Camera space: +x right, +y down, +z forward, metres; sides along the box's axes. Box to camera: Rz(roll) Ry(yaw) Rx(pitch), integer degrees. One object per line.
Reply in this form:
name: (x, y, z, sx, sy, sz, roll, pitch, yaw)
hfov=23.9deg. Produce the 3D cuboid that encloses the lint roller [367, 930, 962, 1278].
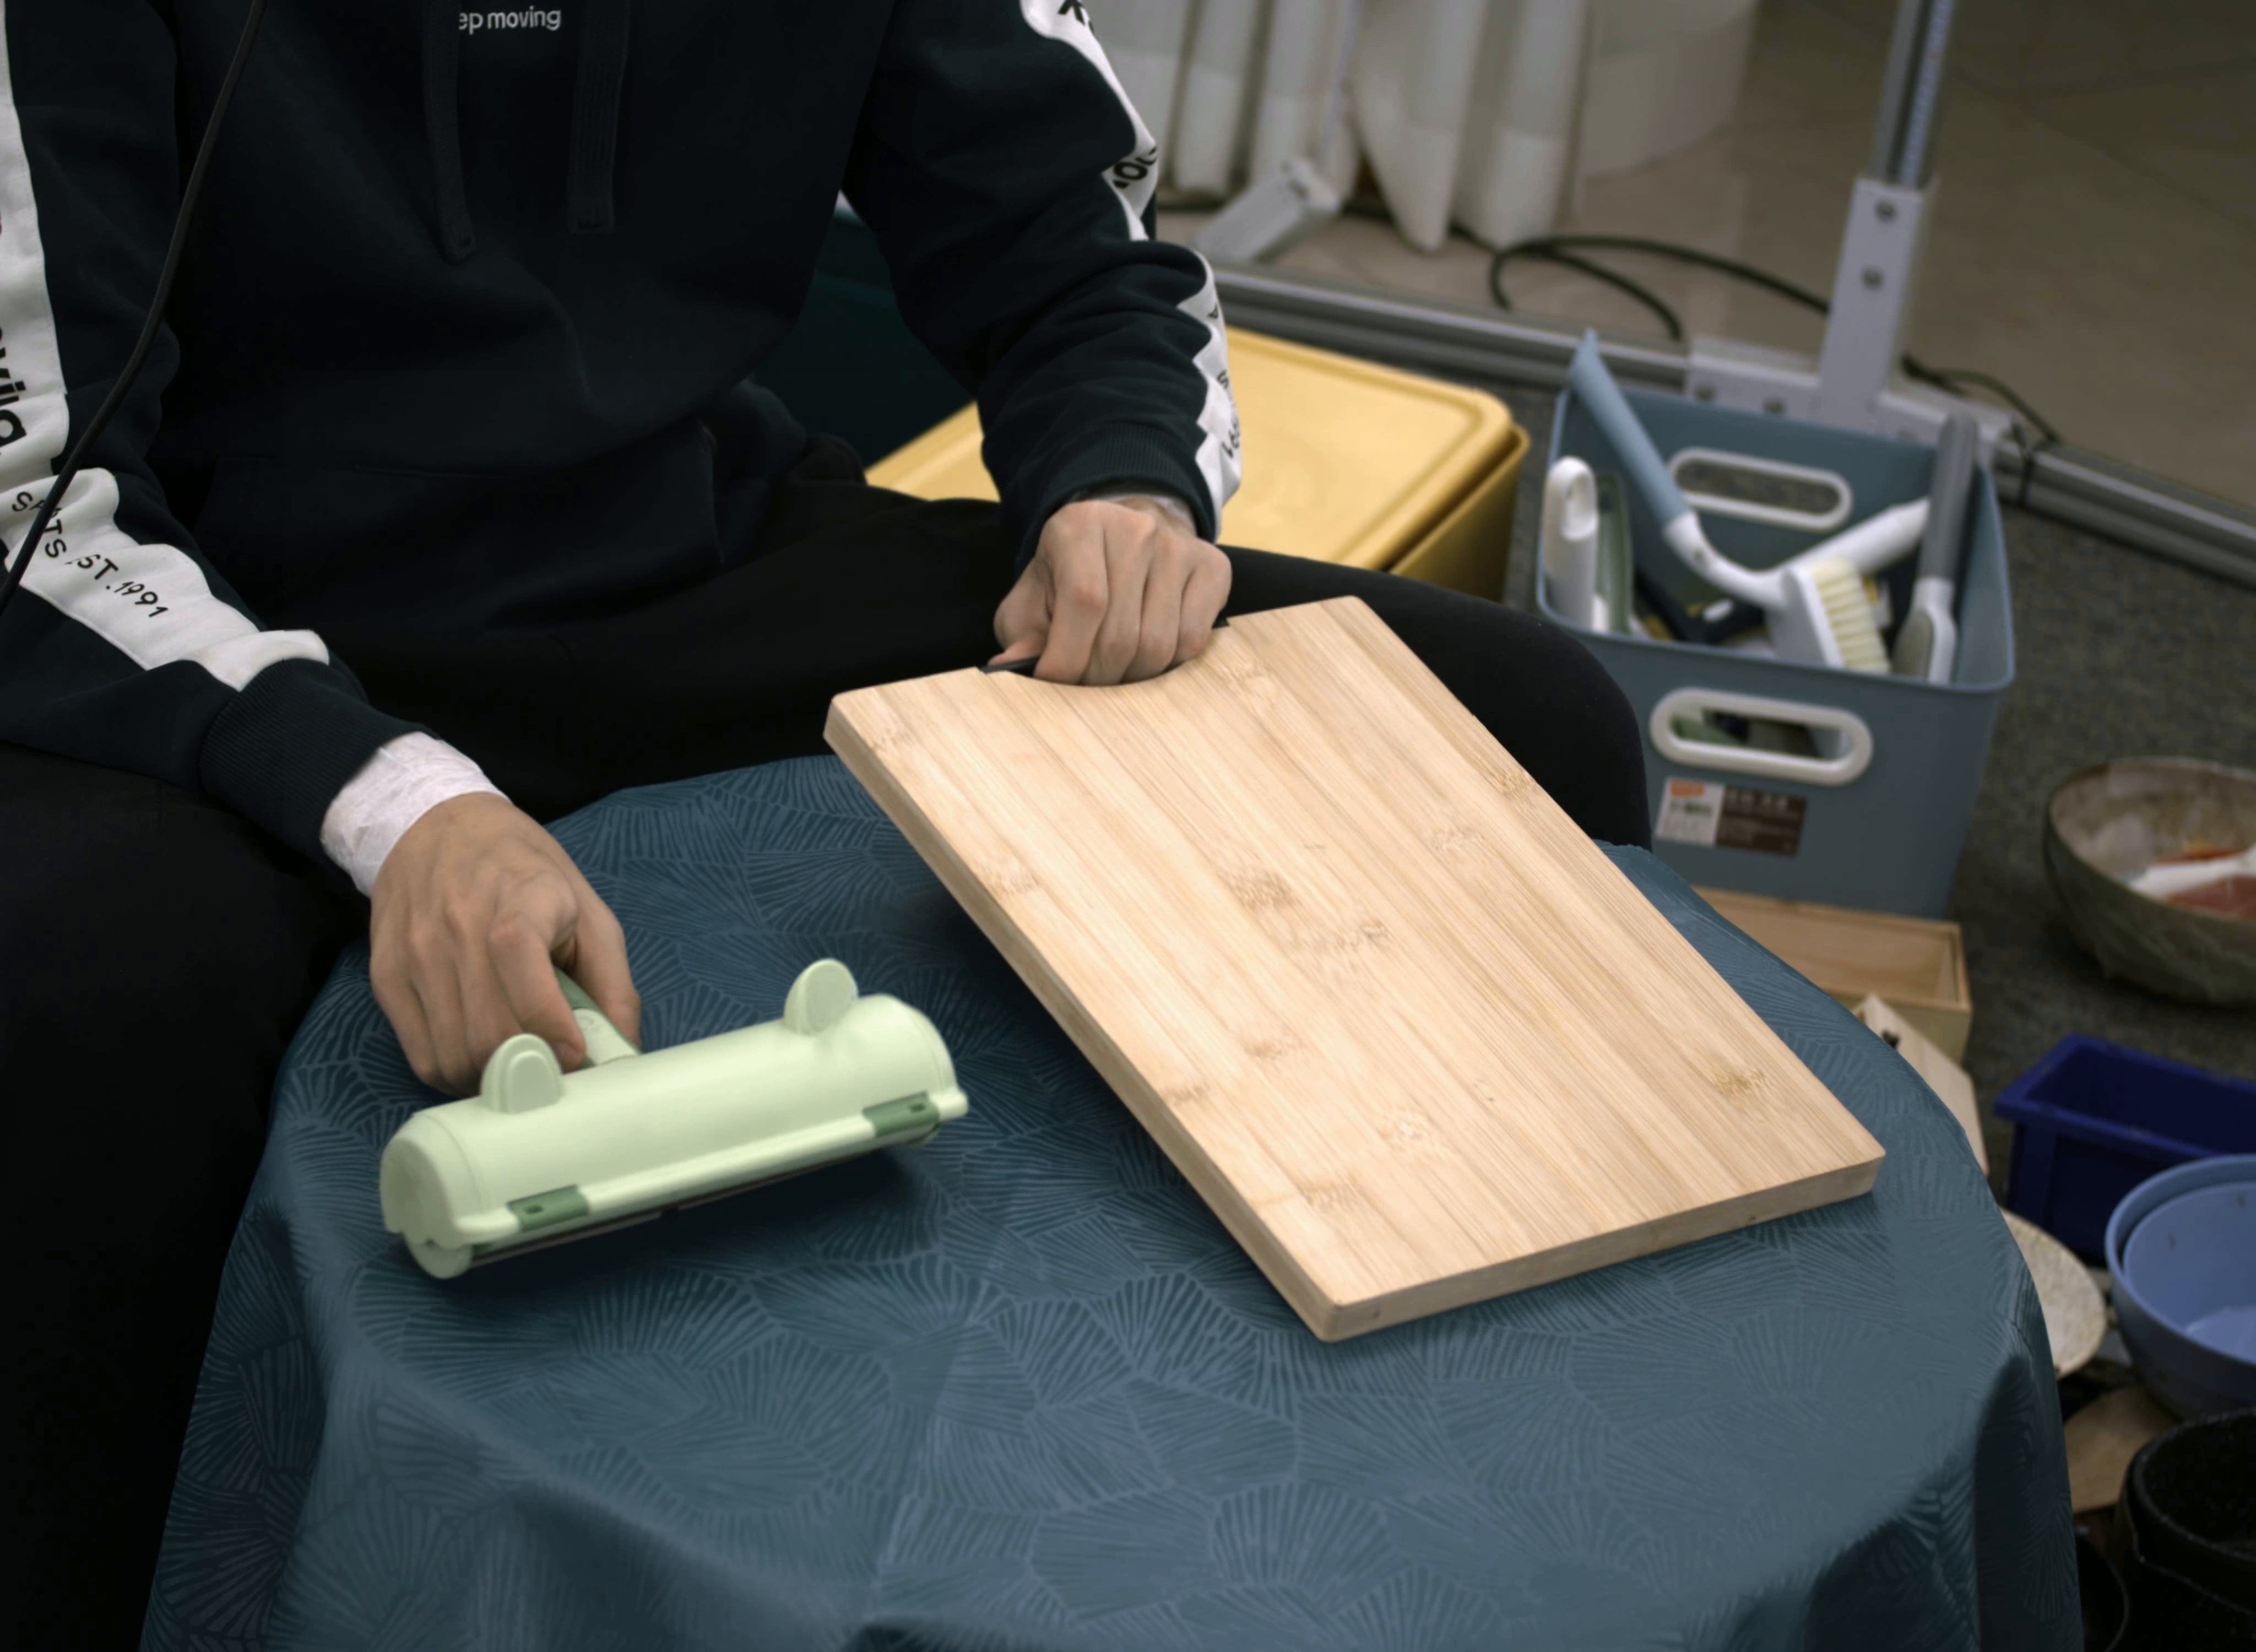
lint roller: (-0.180, 0.066, 1.772, 0.197, 0.082, 0.185, -12, 40, -33)

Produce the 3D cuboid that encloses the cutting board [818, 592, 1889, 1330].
cutting board: (0.074, 0.039, 1.892, 0.249, 0.023, 0.352, -12, 43, -33)
